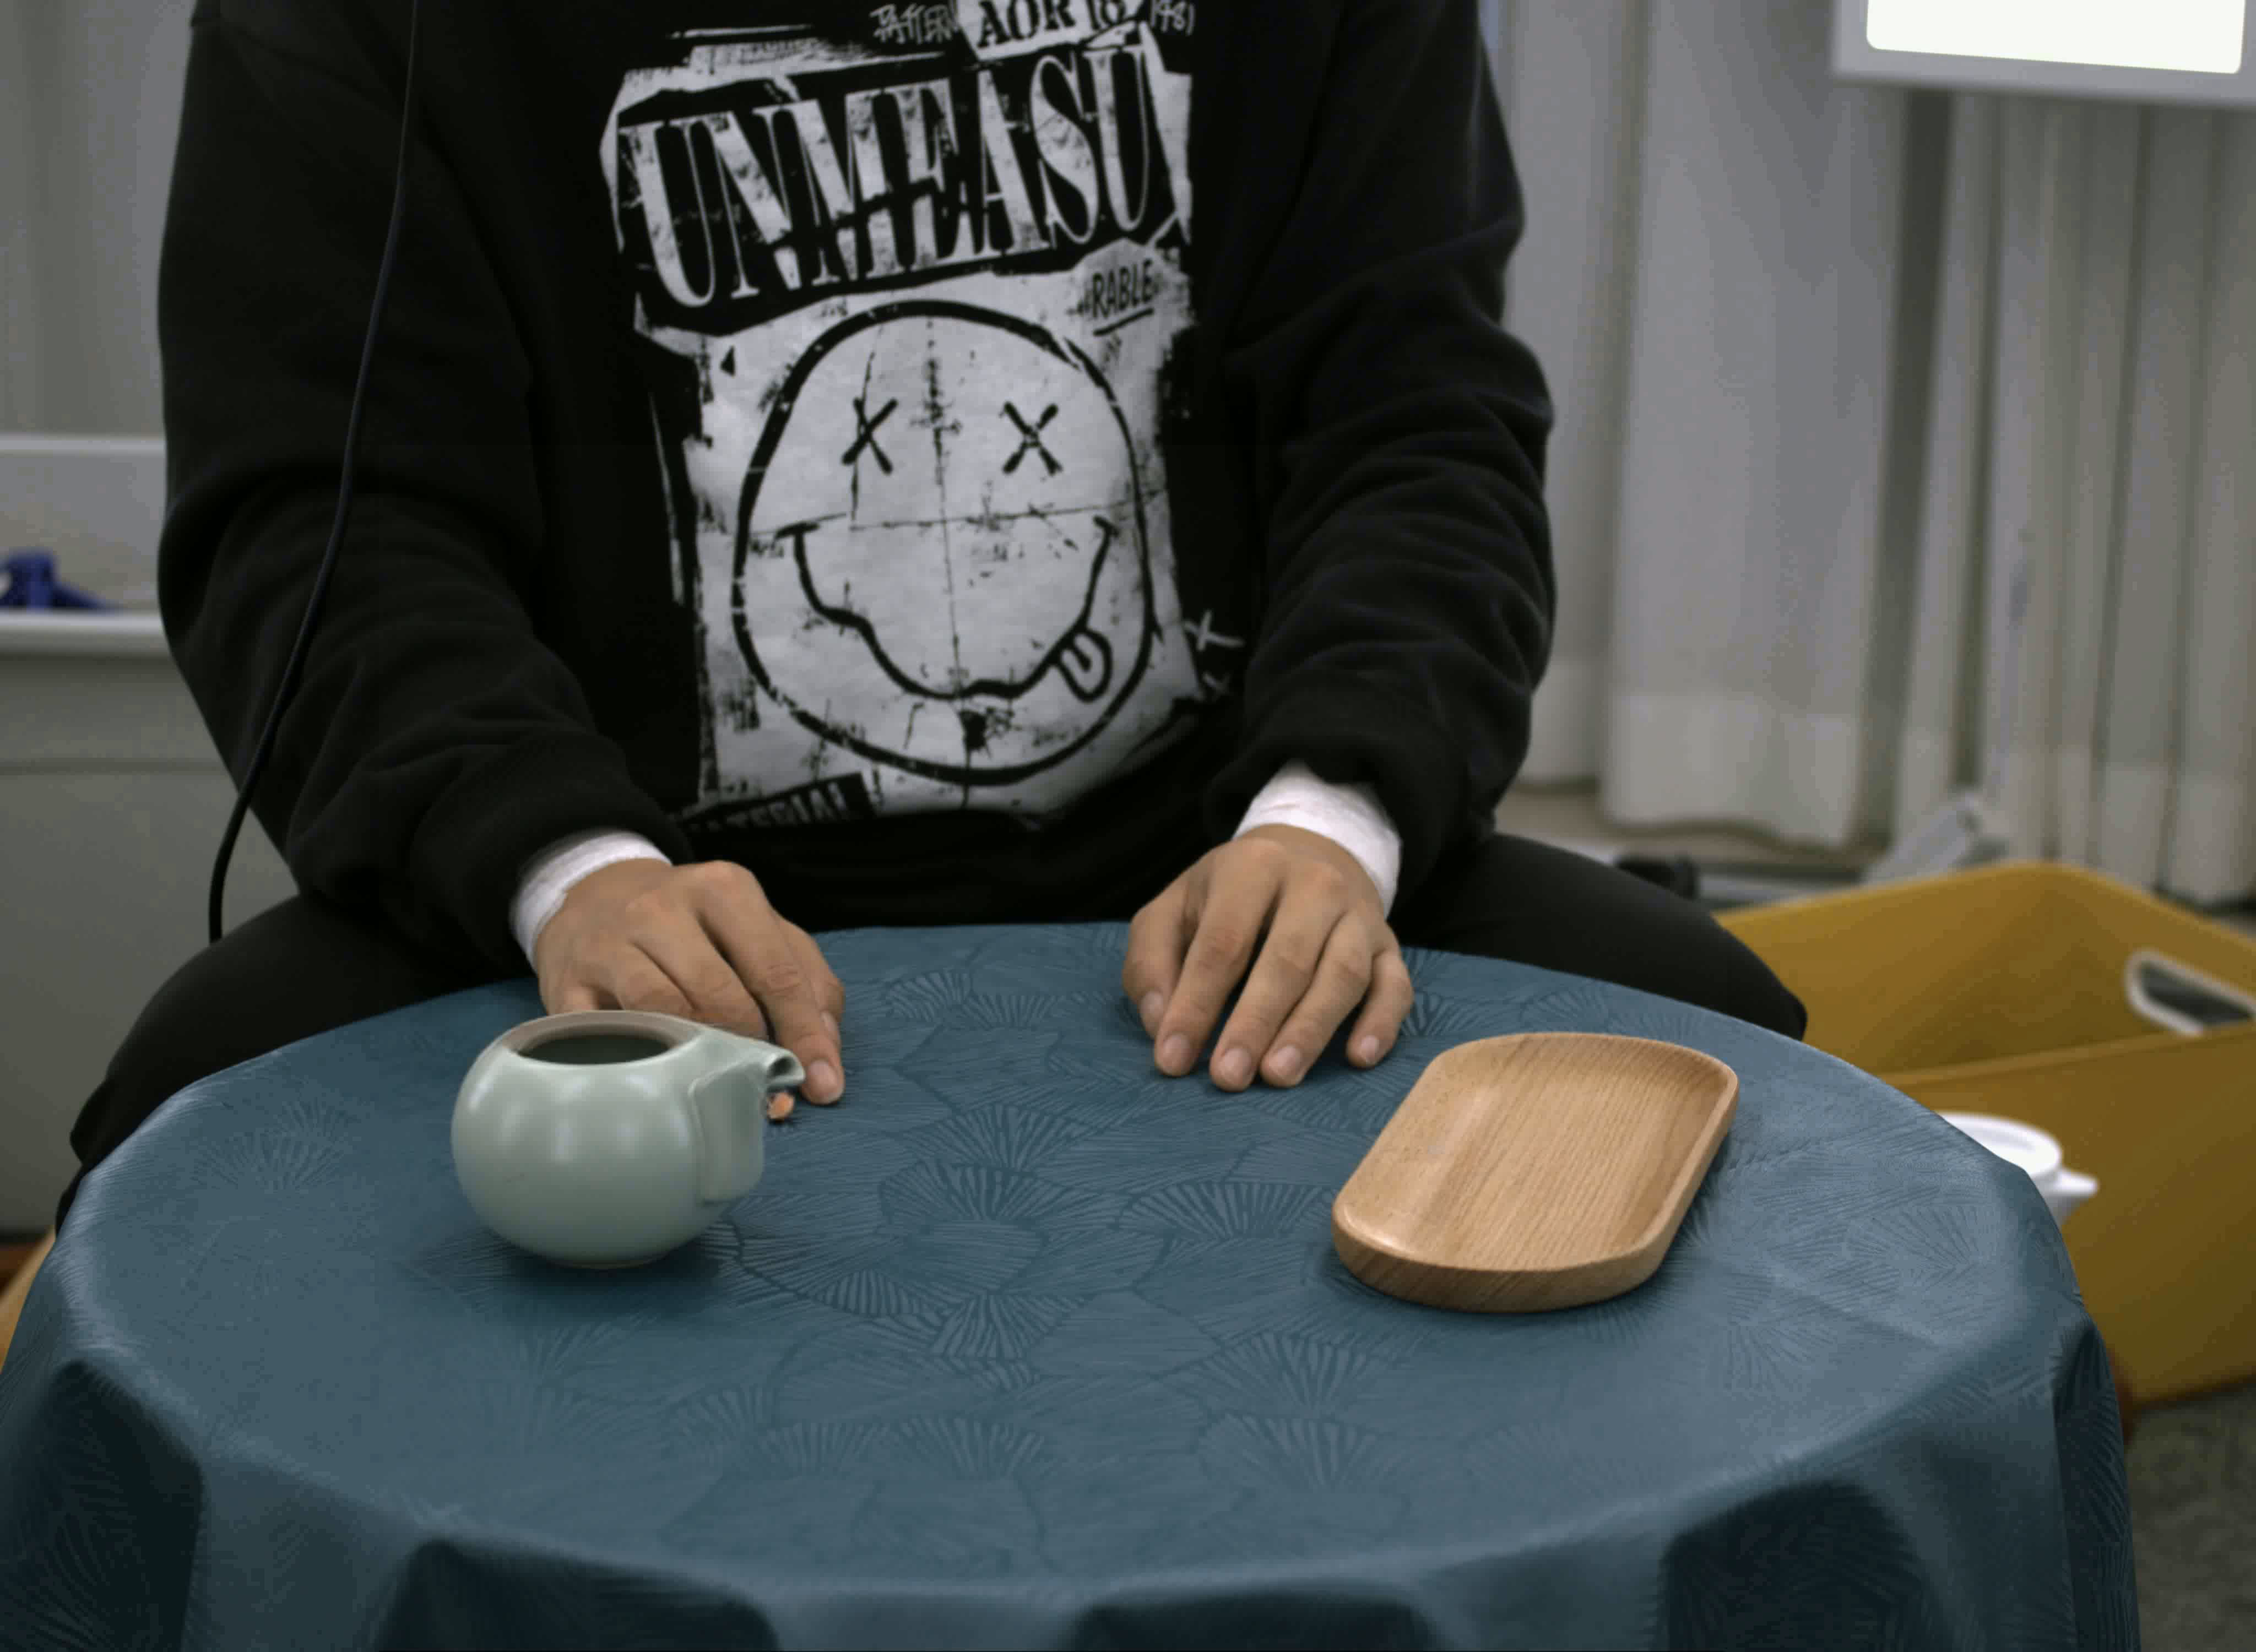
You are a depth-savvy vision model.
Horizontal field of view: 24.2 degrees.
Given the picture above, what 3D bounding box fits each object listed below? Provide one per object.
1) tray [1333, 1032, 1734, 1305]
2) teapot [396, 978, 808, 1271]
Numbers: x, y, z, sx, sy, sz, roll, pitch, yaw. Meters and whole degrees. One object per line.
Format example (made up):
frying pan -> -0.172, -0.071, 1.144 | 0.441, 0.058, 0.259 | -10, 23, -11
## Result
tray -> 0.127, 0.103, 1.629 | 0.101, 0.020, 0.231 | 6, 15, 13
teapot -> -0.156, 0.090, 1.561 | 0.142, 0.075, 0.088 | 11, 19, 29
